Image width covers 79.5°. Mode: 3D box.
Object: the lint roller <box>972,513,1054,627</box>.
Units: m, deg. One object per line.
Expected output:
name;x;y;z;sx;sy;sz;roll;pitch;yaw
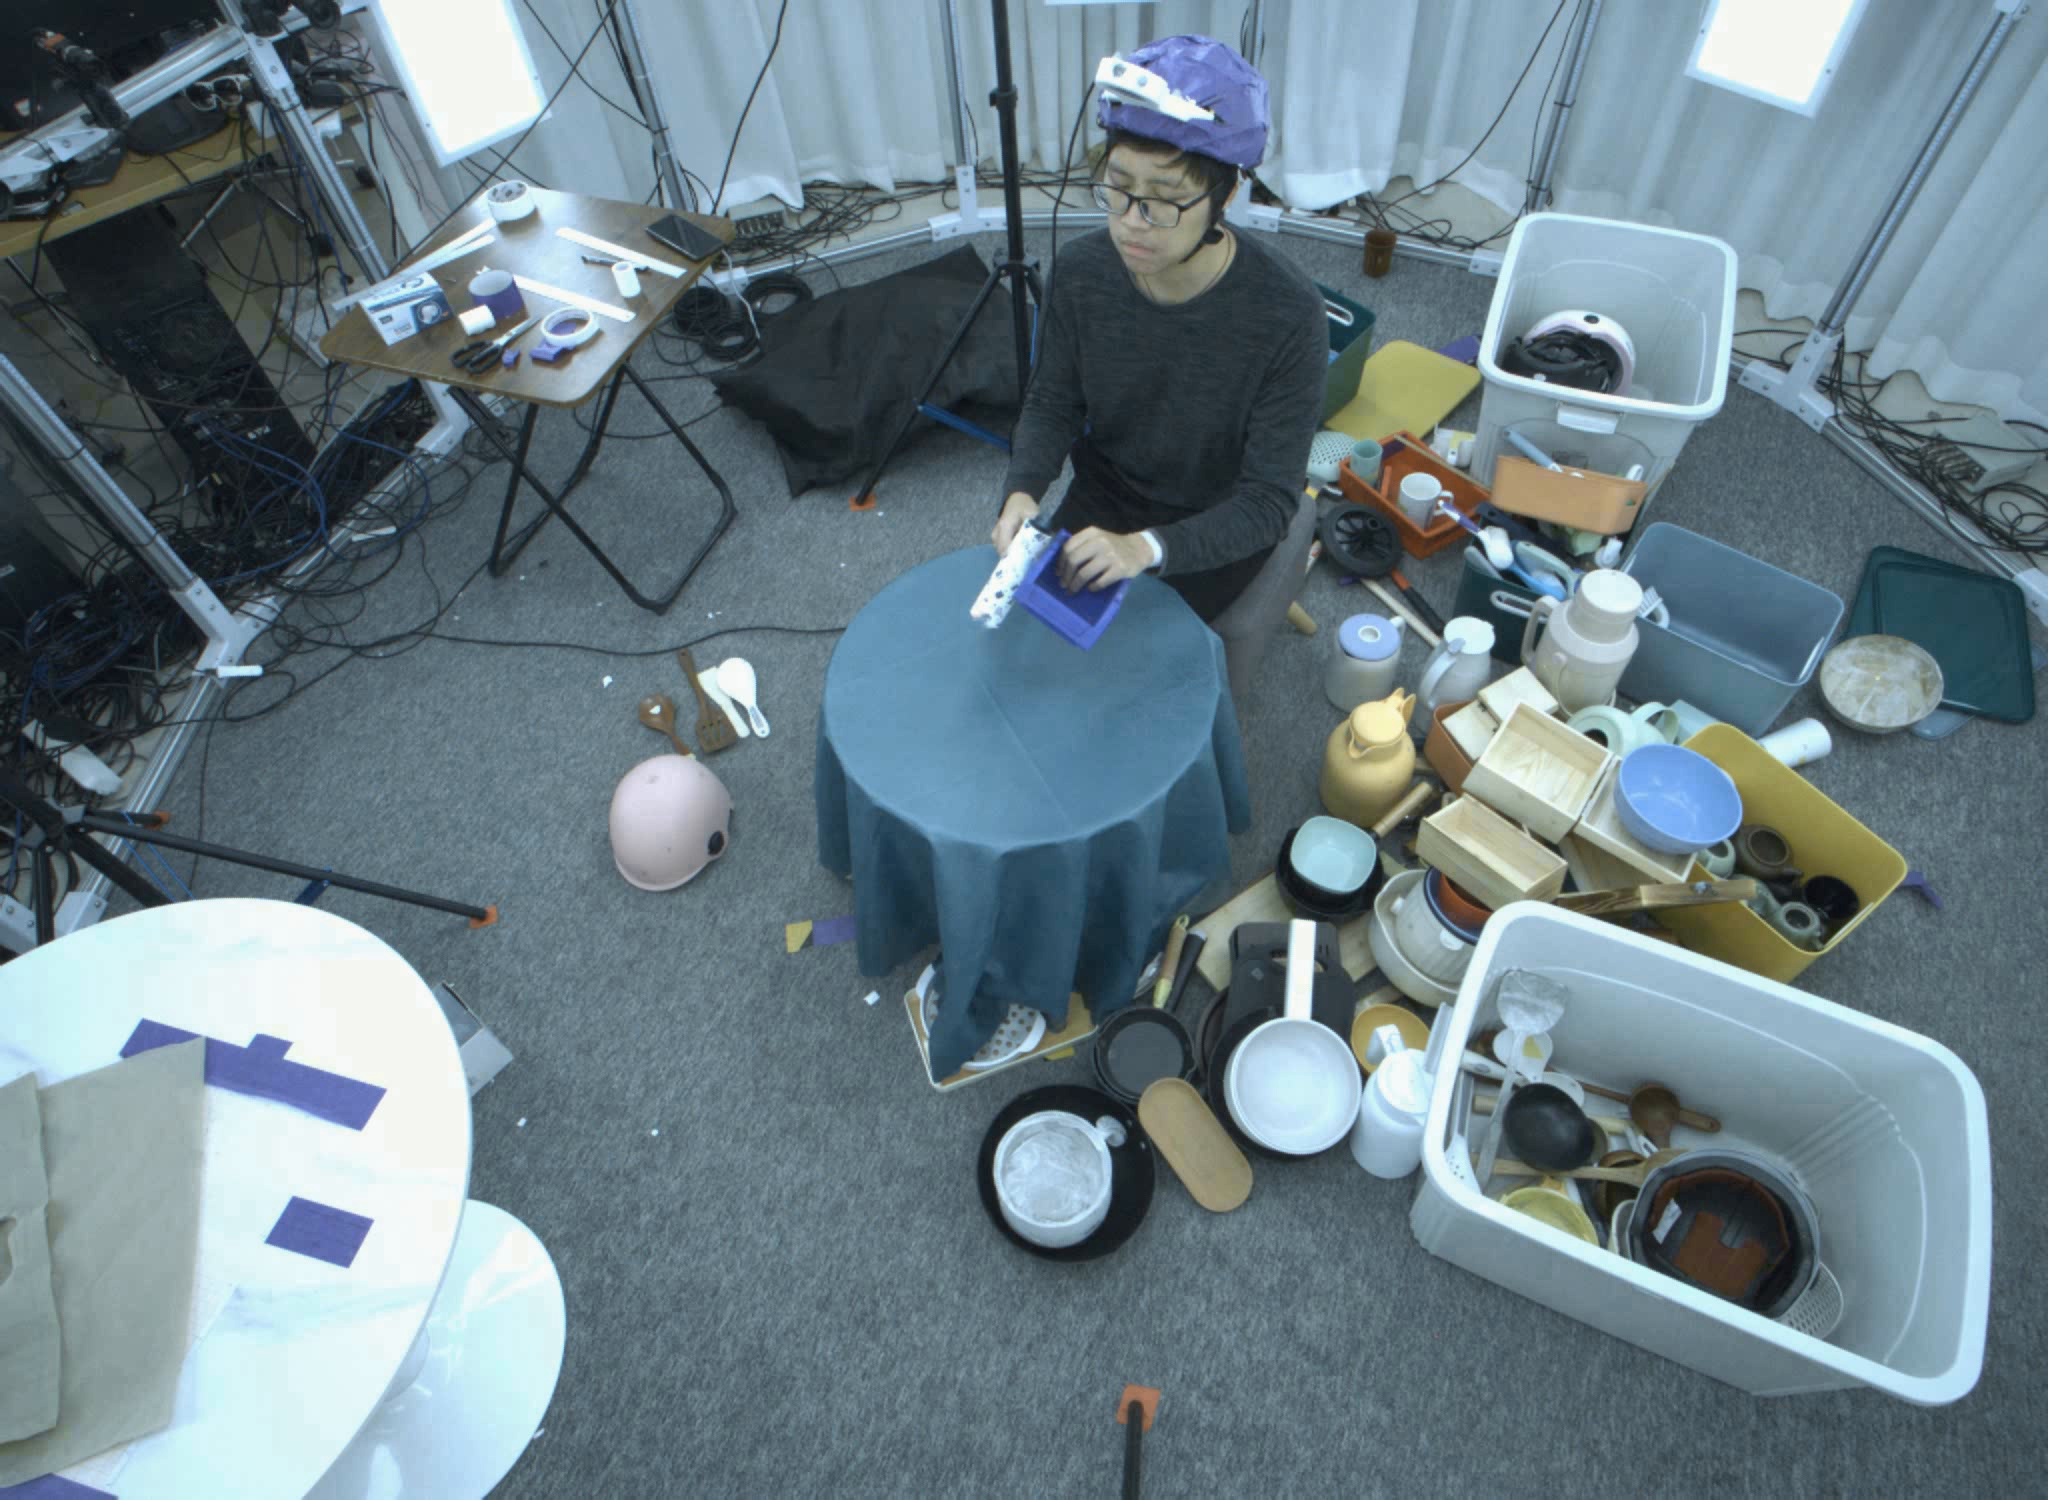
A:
lint roller;-0.013;-0.297;1.837;0.051;0.176;0.245;28;24;-11

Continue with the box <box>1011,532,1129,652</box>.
box;0.062;-0.206;1.623;0.125;0.081;0.179;37;21;-5
